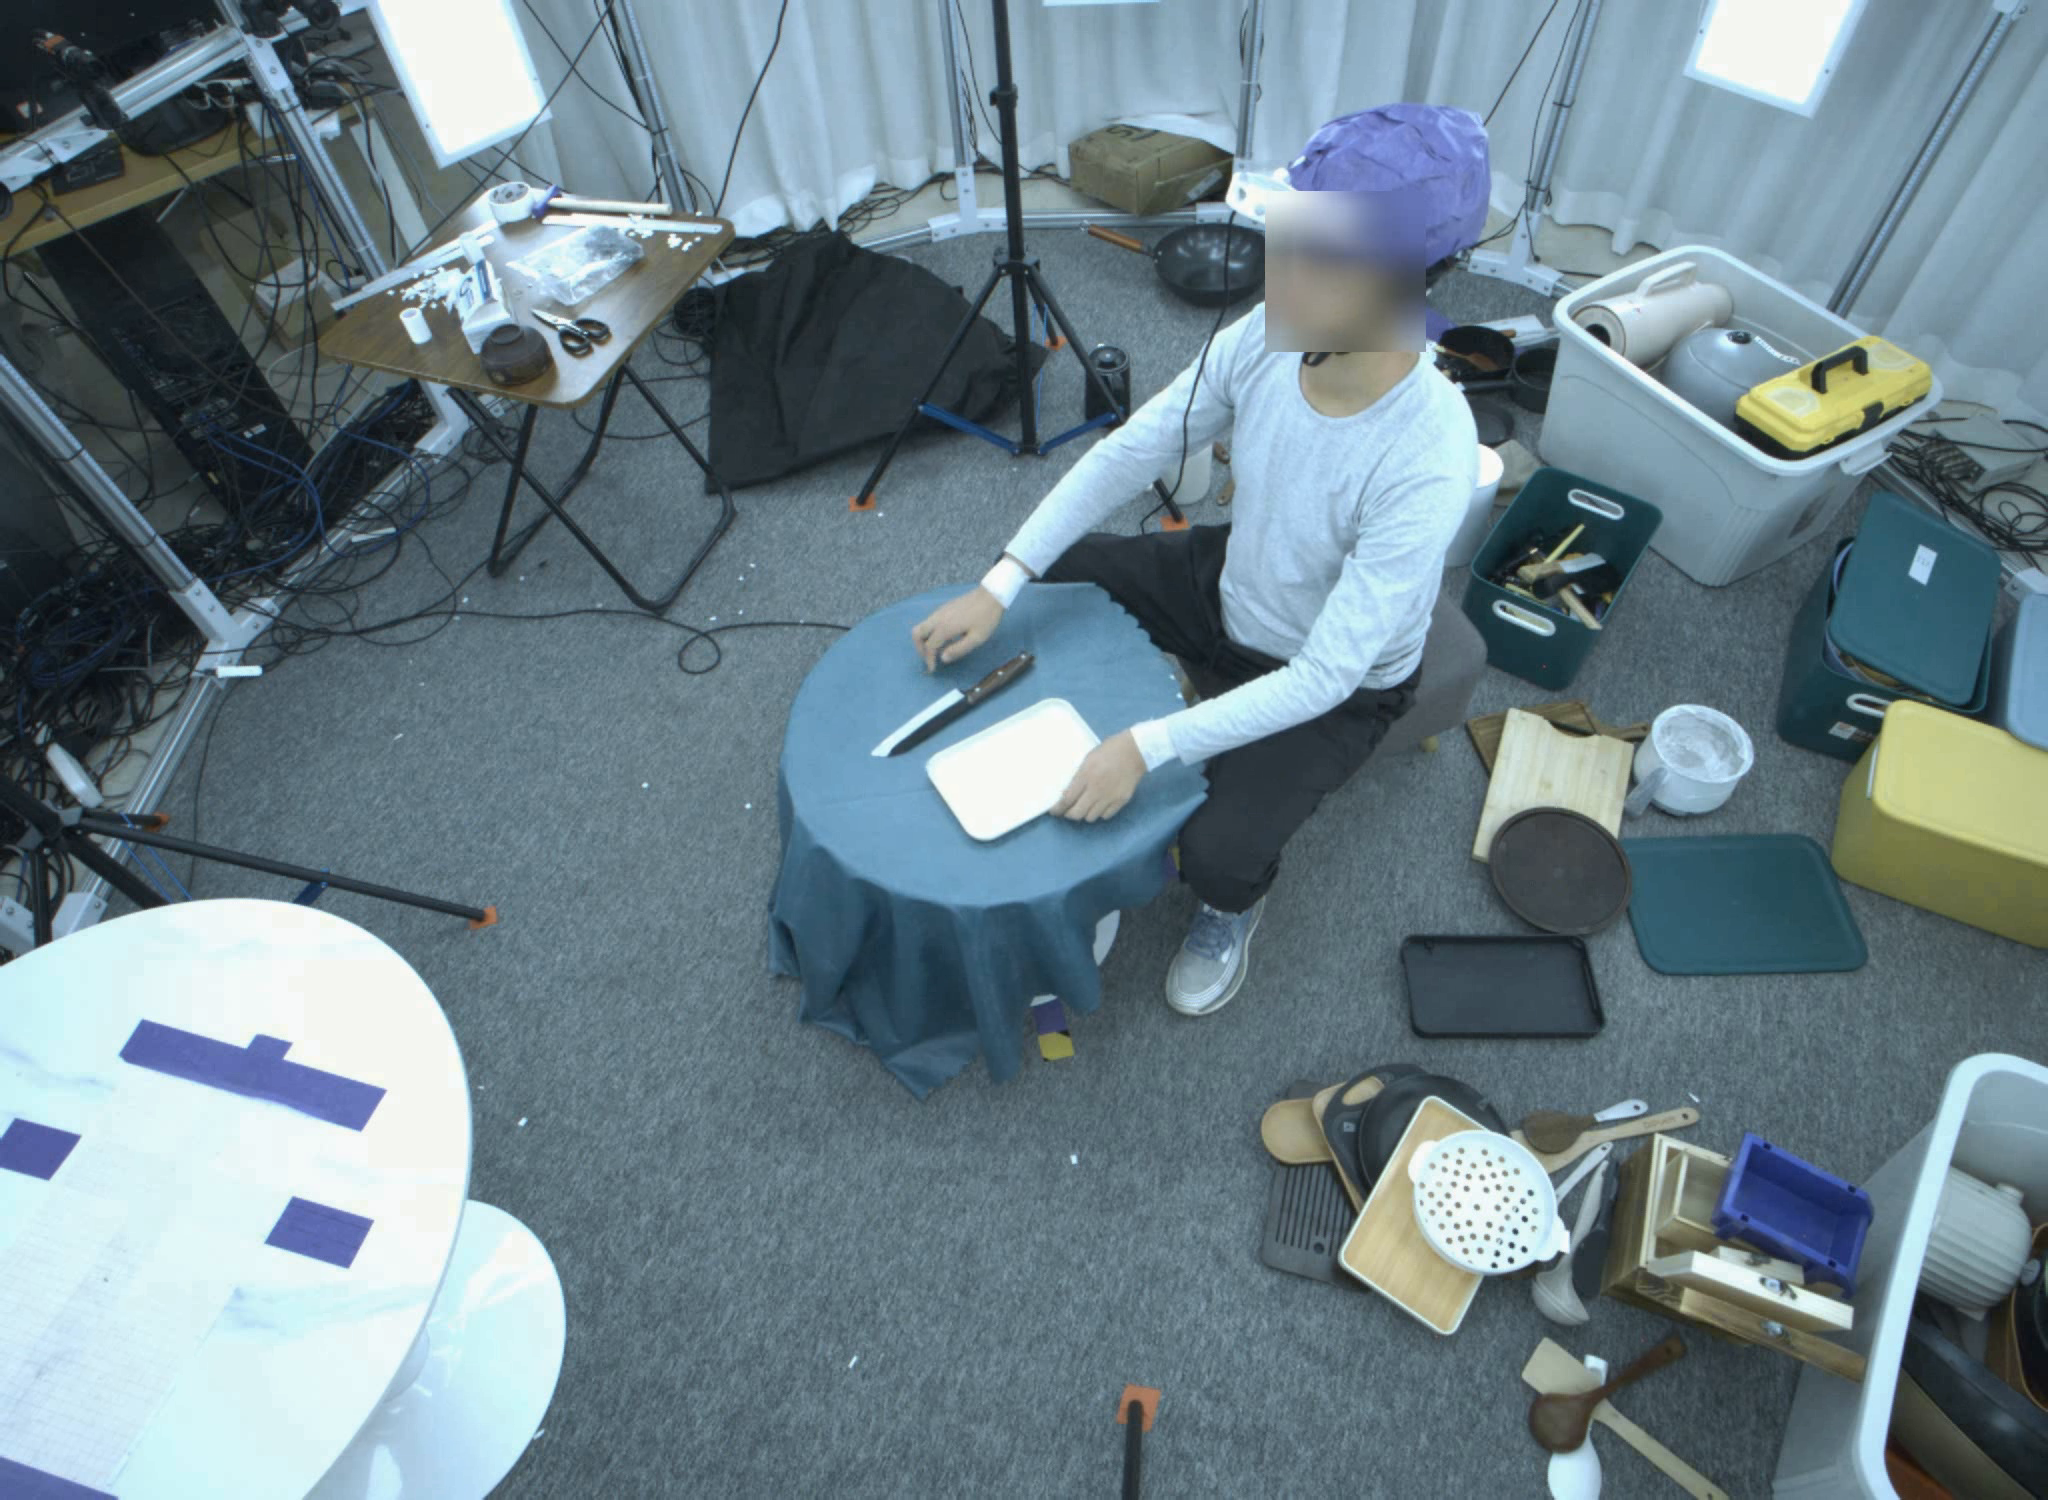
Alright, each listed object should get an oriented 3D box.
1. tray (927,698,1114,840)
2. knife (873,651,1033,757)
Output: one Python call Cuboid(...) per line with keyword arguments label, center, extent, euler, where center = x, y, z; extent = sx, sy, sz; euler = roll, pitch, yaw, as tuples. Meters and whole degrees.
Cuboid(label="tray", center=(-0.005, 0.026, 1.766), extent=(0.241, 0.017, 0.168), euler=(-26, 58, -17))
Cuboid(label="knife", center=(-0.105, -0.068, 1.838), extent=(0.291, 0.020, 0.049), euler=(-34, 55, -18))
